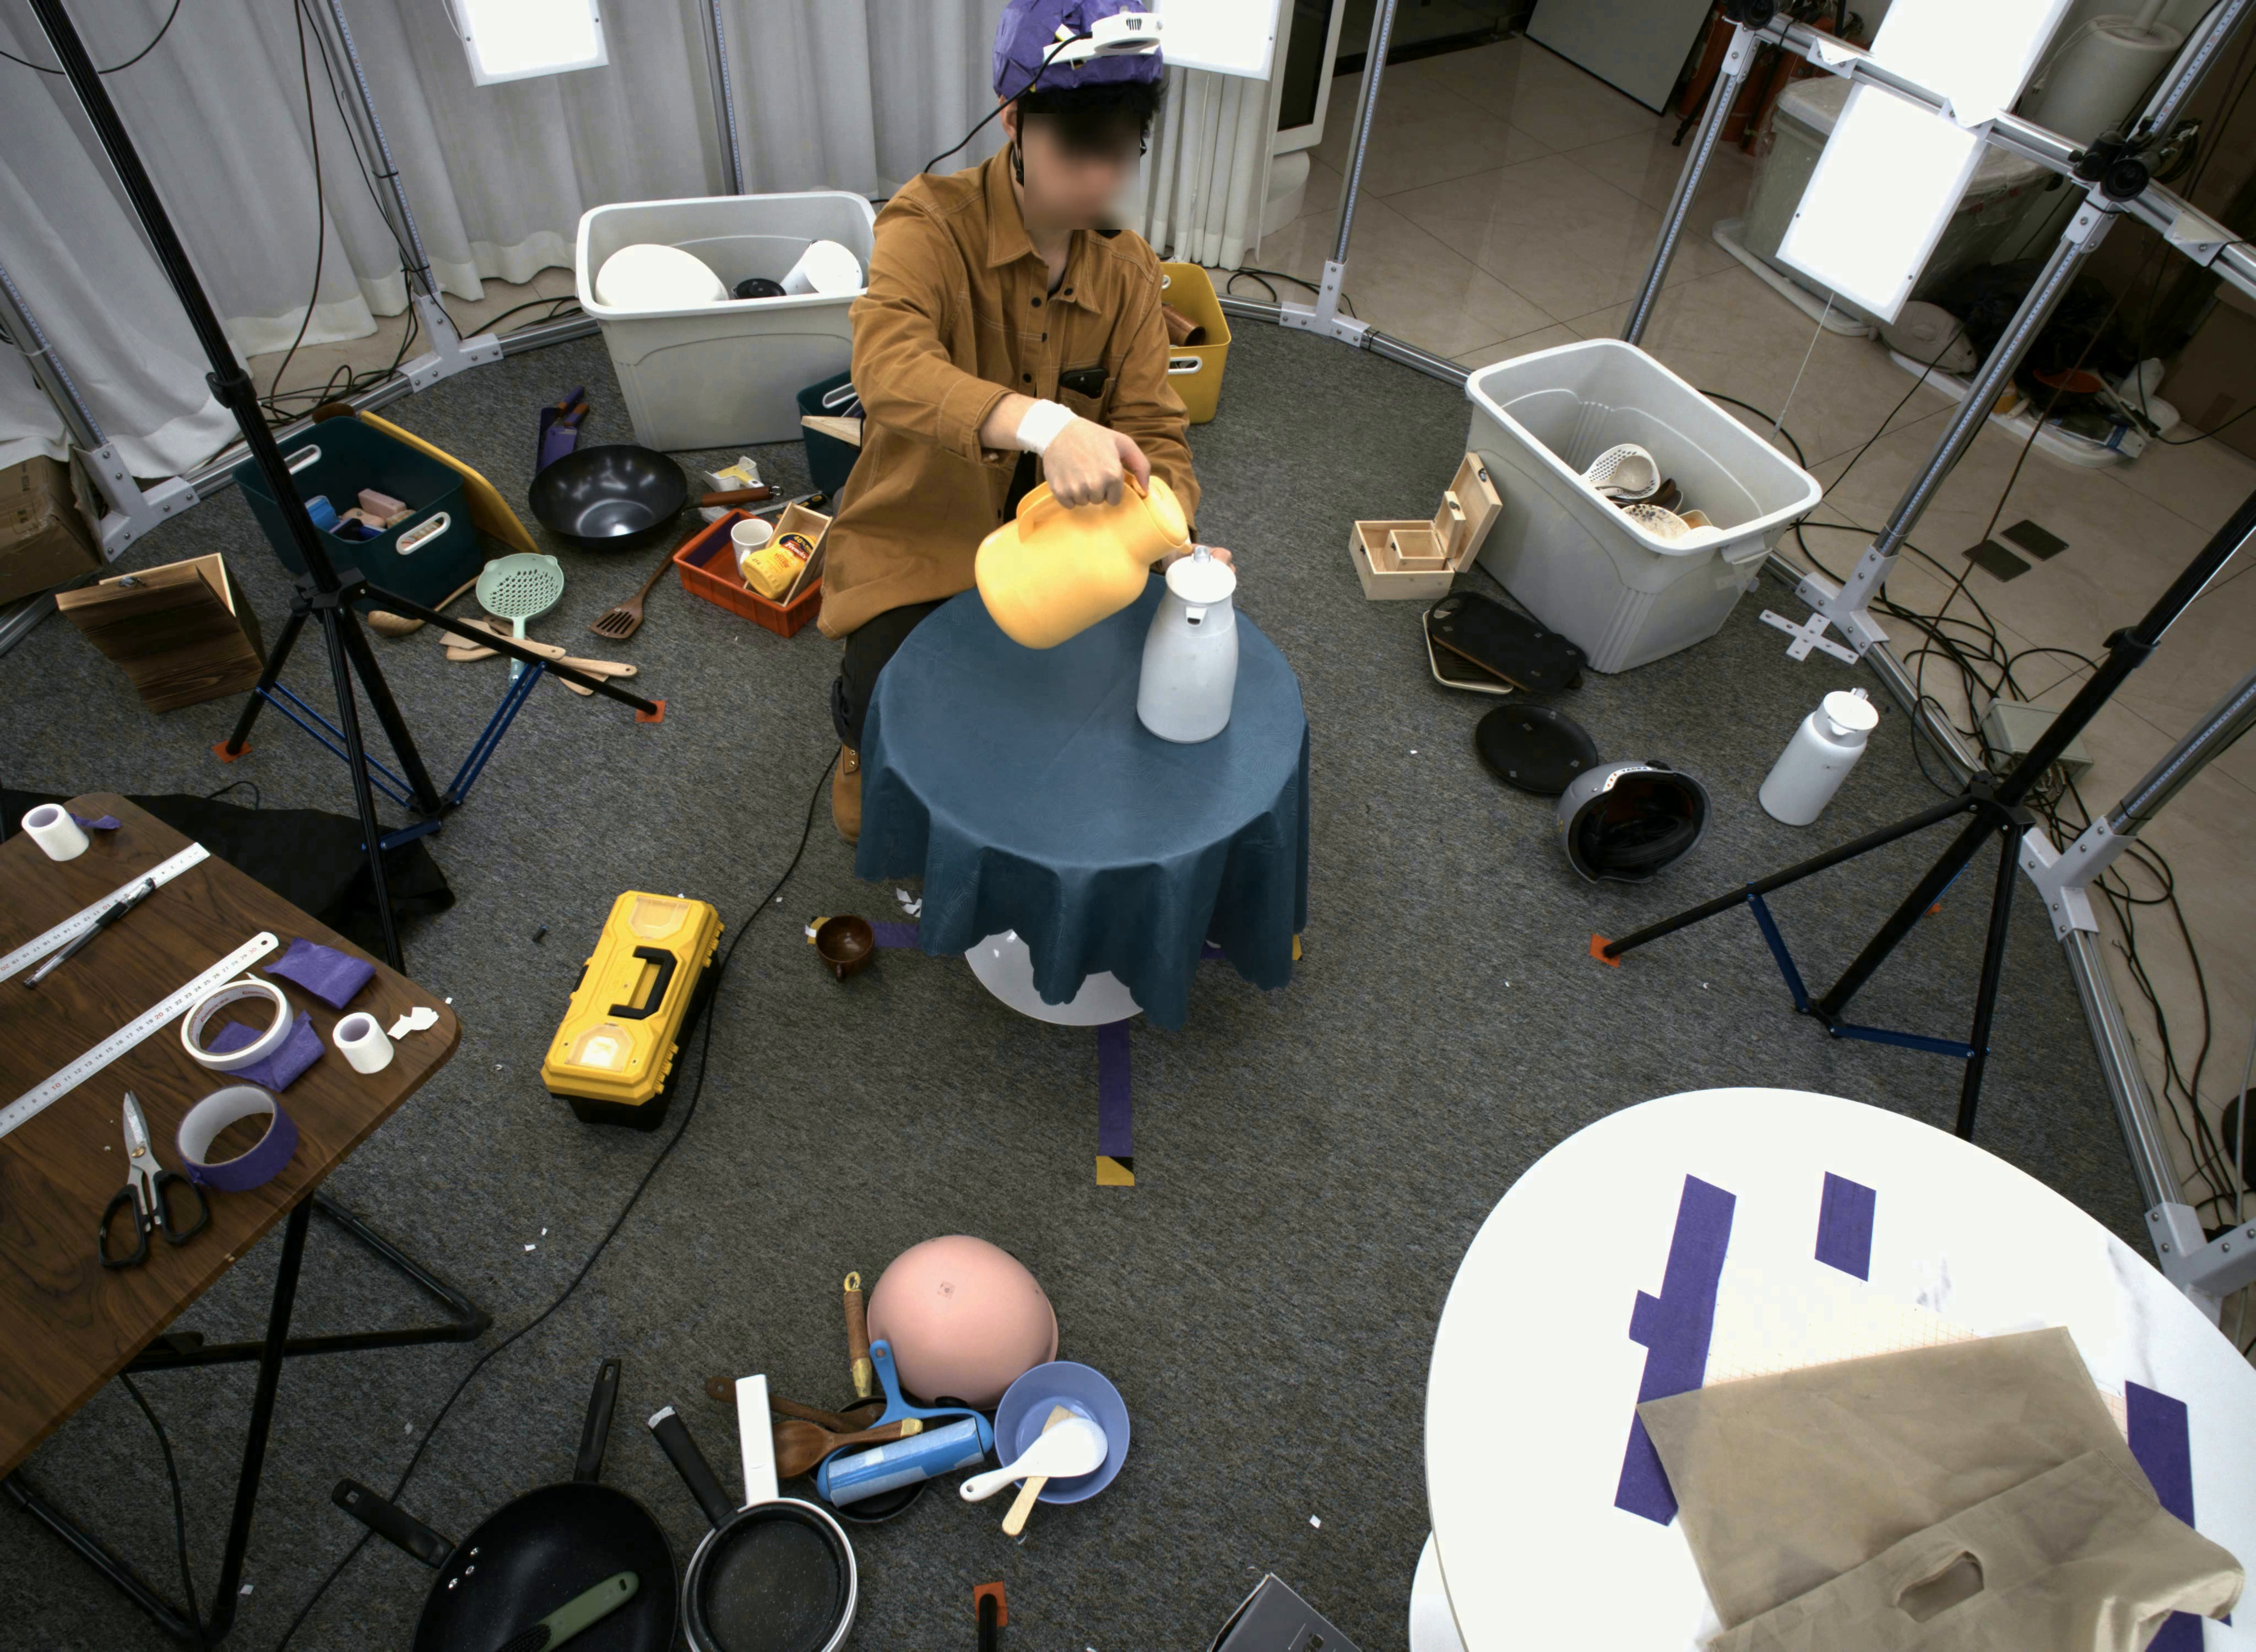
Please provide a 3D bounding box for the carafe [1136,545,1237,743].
[{"bbox_3d":[0.086,-0.258,1.738,0.132,0.242,0.172,8,49,3],"label":"carafe"}]

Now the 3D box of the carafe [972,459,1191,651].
[{"bbox_3d":[-0.065,-0.343,1.574,0.259,0.198,0.167,-26,52,24],"label":"carafe"}]
